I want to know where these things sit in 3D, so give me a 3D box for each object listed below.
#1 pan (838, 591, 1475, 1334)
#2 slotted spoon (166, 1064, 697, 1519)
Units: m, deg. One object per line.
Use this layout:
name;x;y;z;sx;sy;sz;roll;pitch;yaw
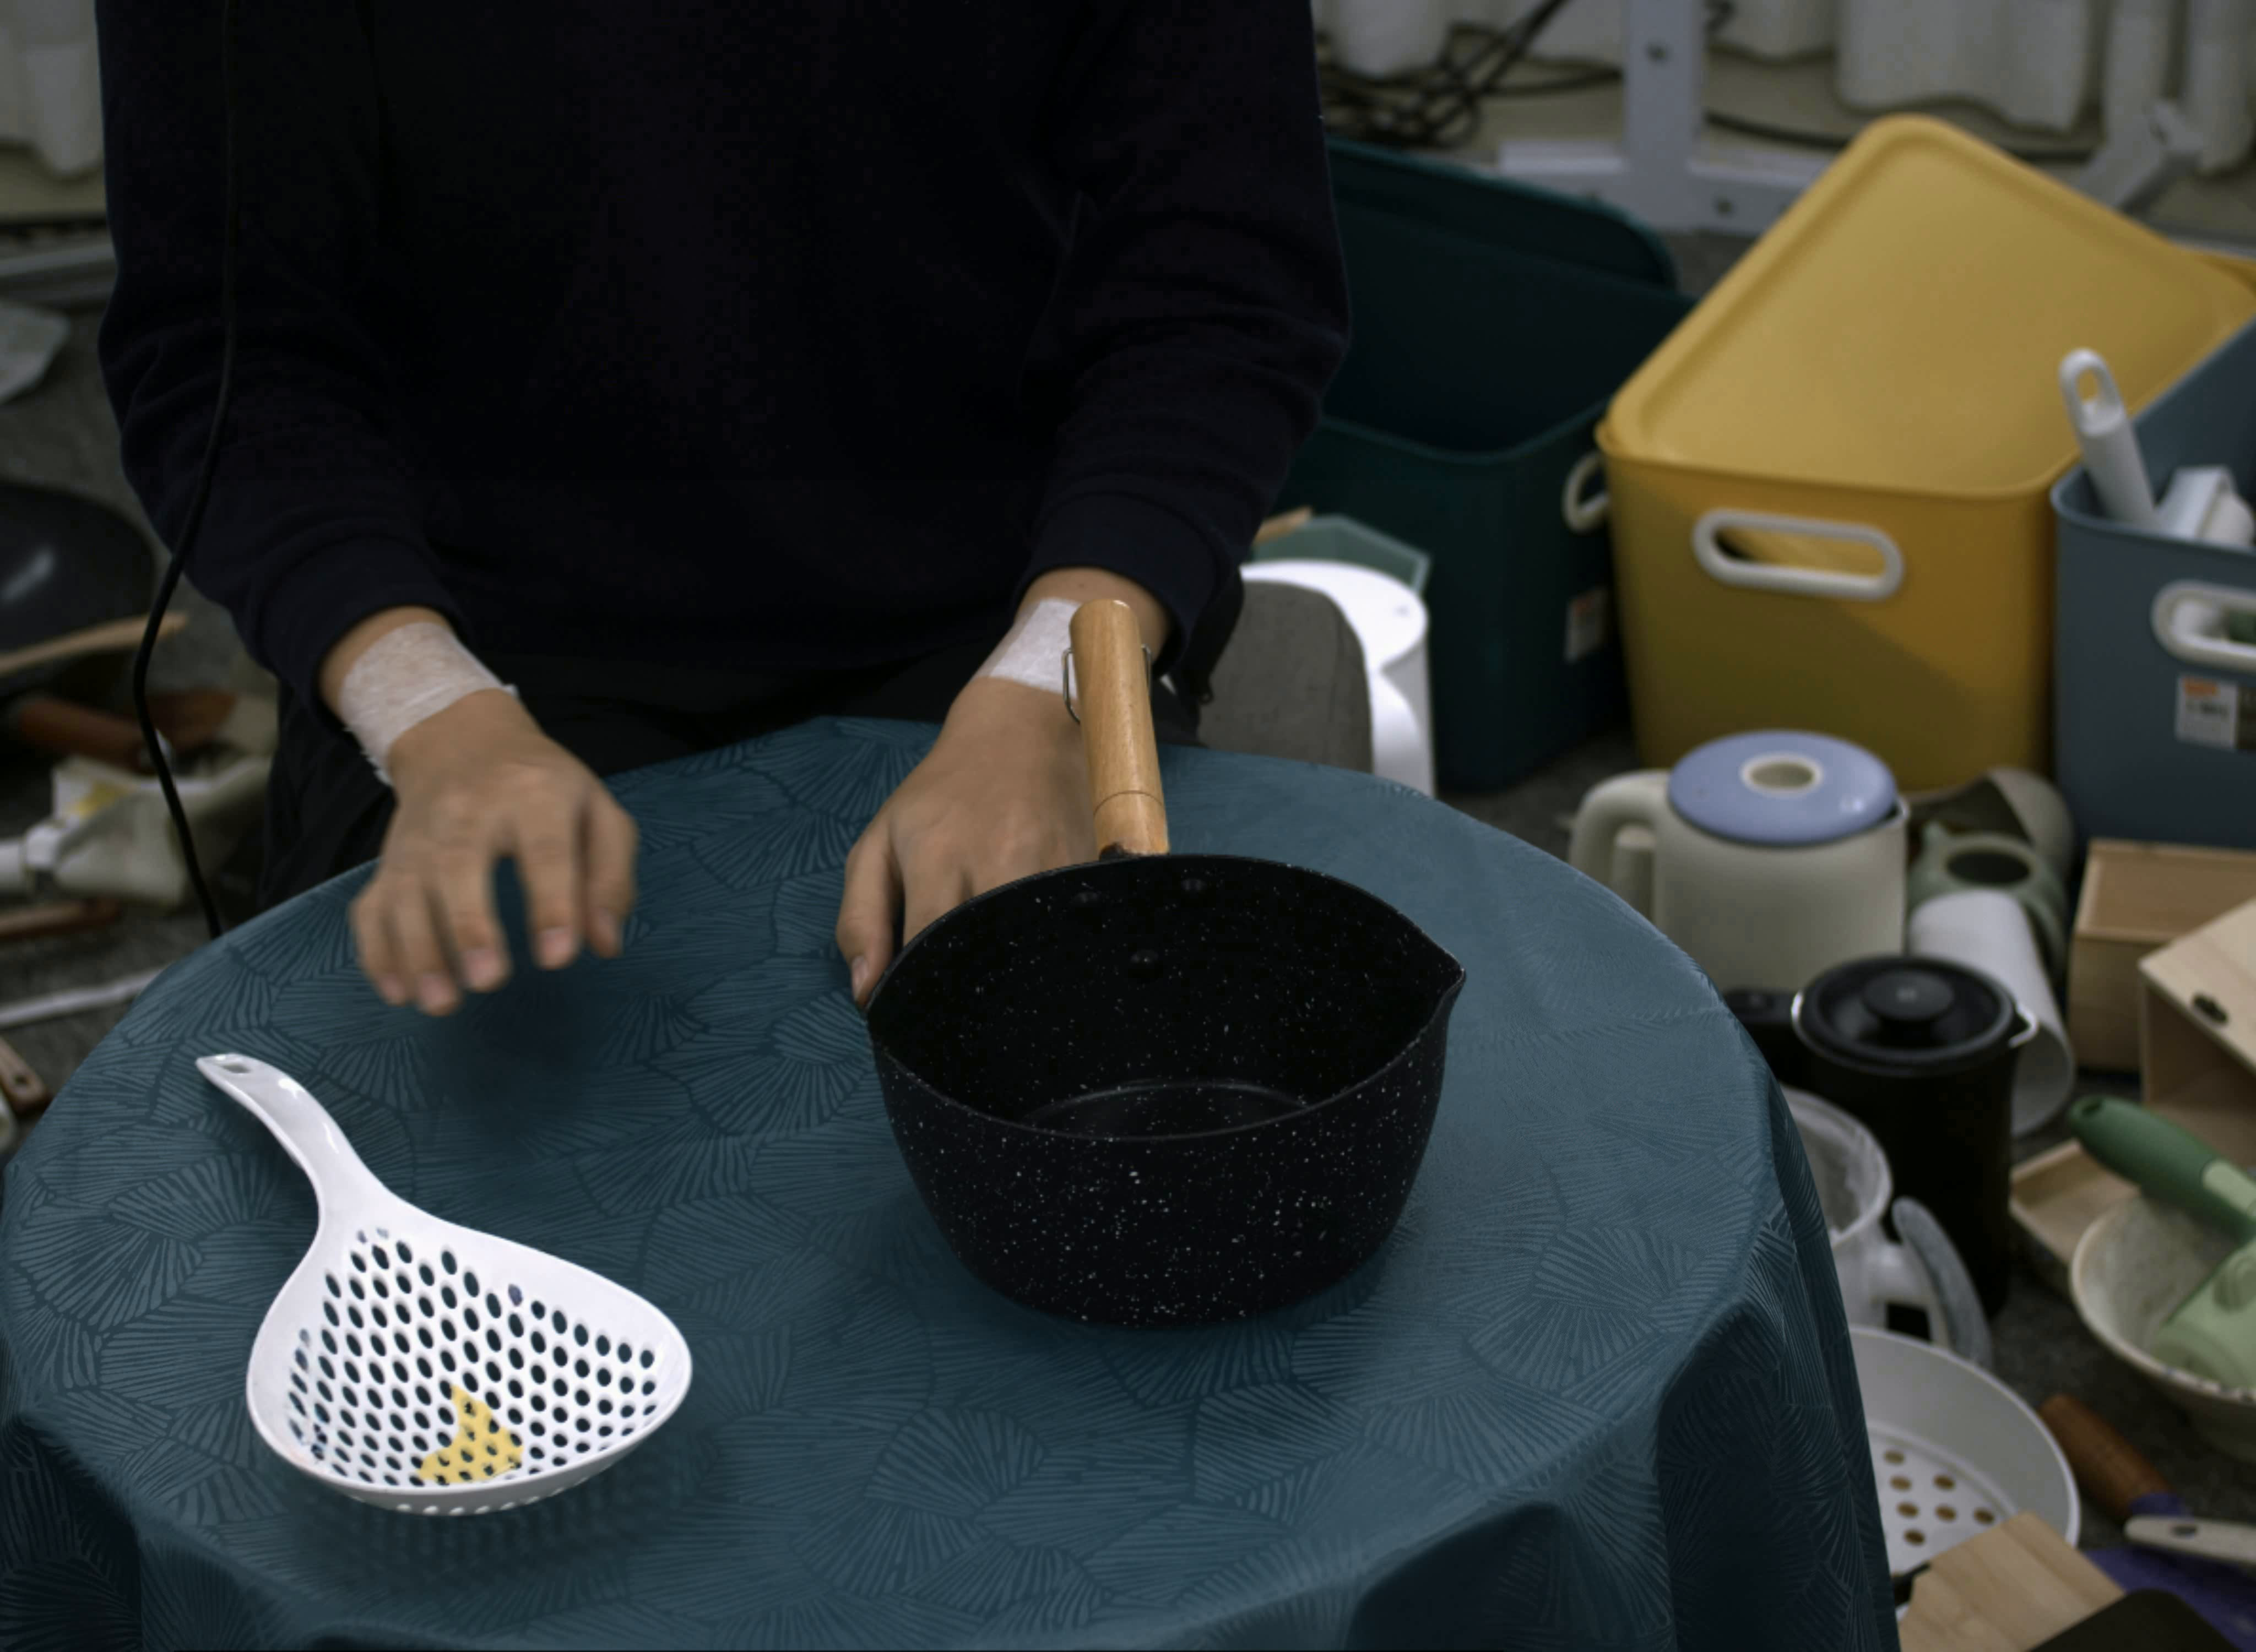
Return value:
pan;0.004;0.042;1.898;0.207;0.107;0.348;-6;29;-3
slotted spoon;-0.248;0.137;1.811;0.137;0.050;0.350;-13;31;-22
